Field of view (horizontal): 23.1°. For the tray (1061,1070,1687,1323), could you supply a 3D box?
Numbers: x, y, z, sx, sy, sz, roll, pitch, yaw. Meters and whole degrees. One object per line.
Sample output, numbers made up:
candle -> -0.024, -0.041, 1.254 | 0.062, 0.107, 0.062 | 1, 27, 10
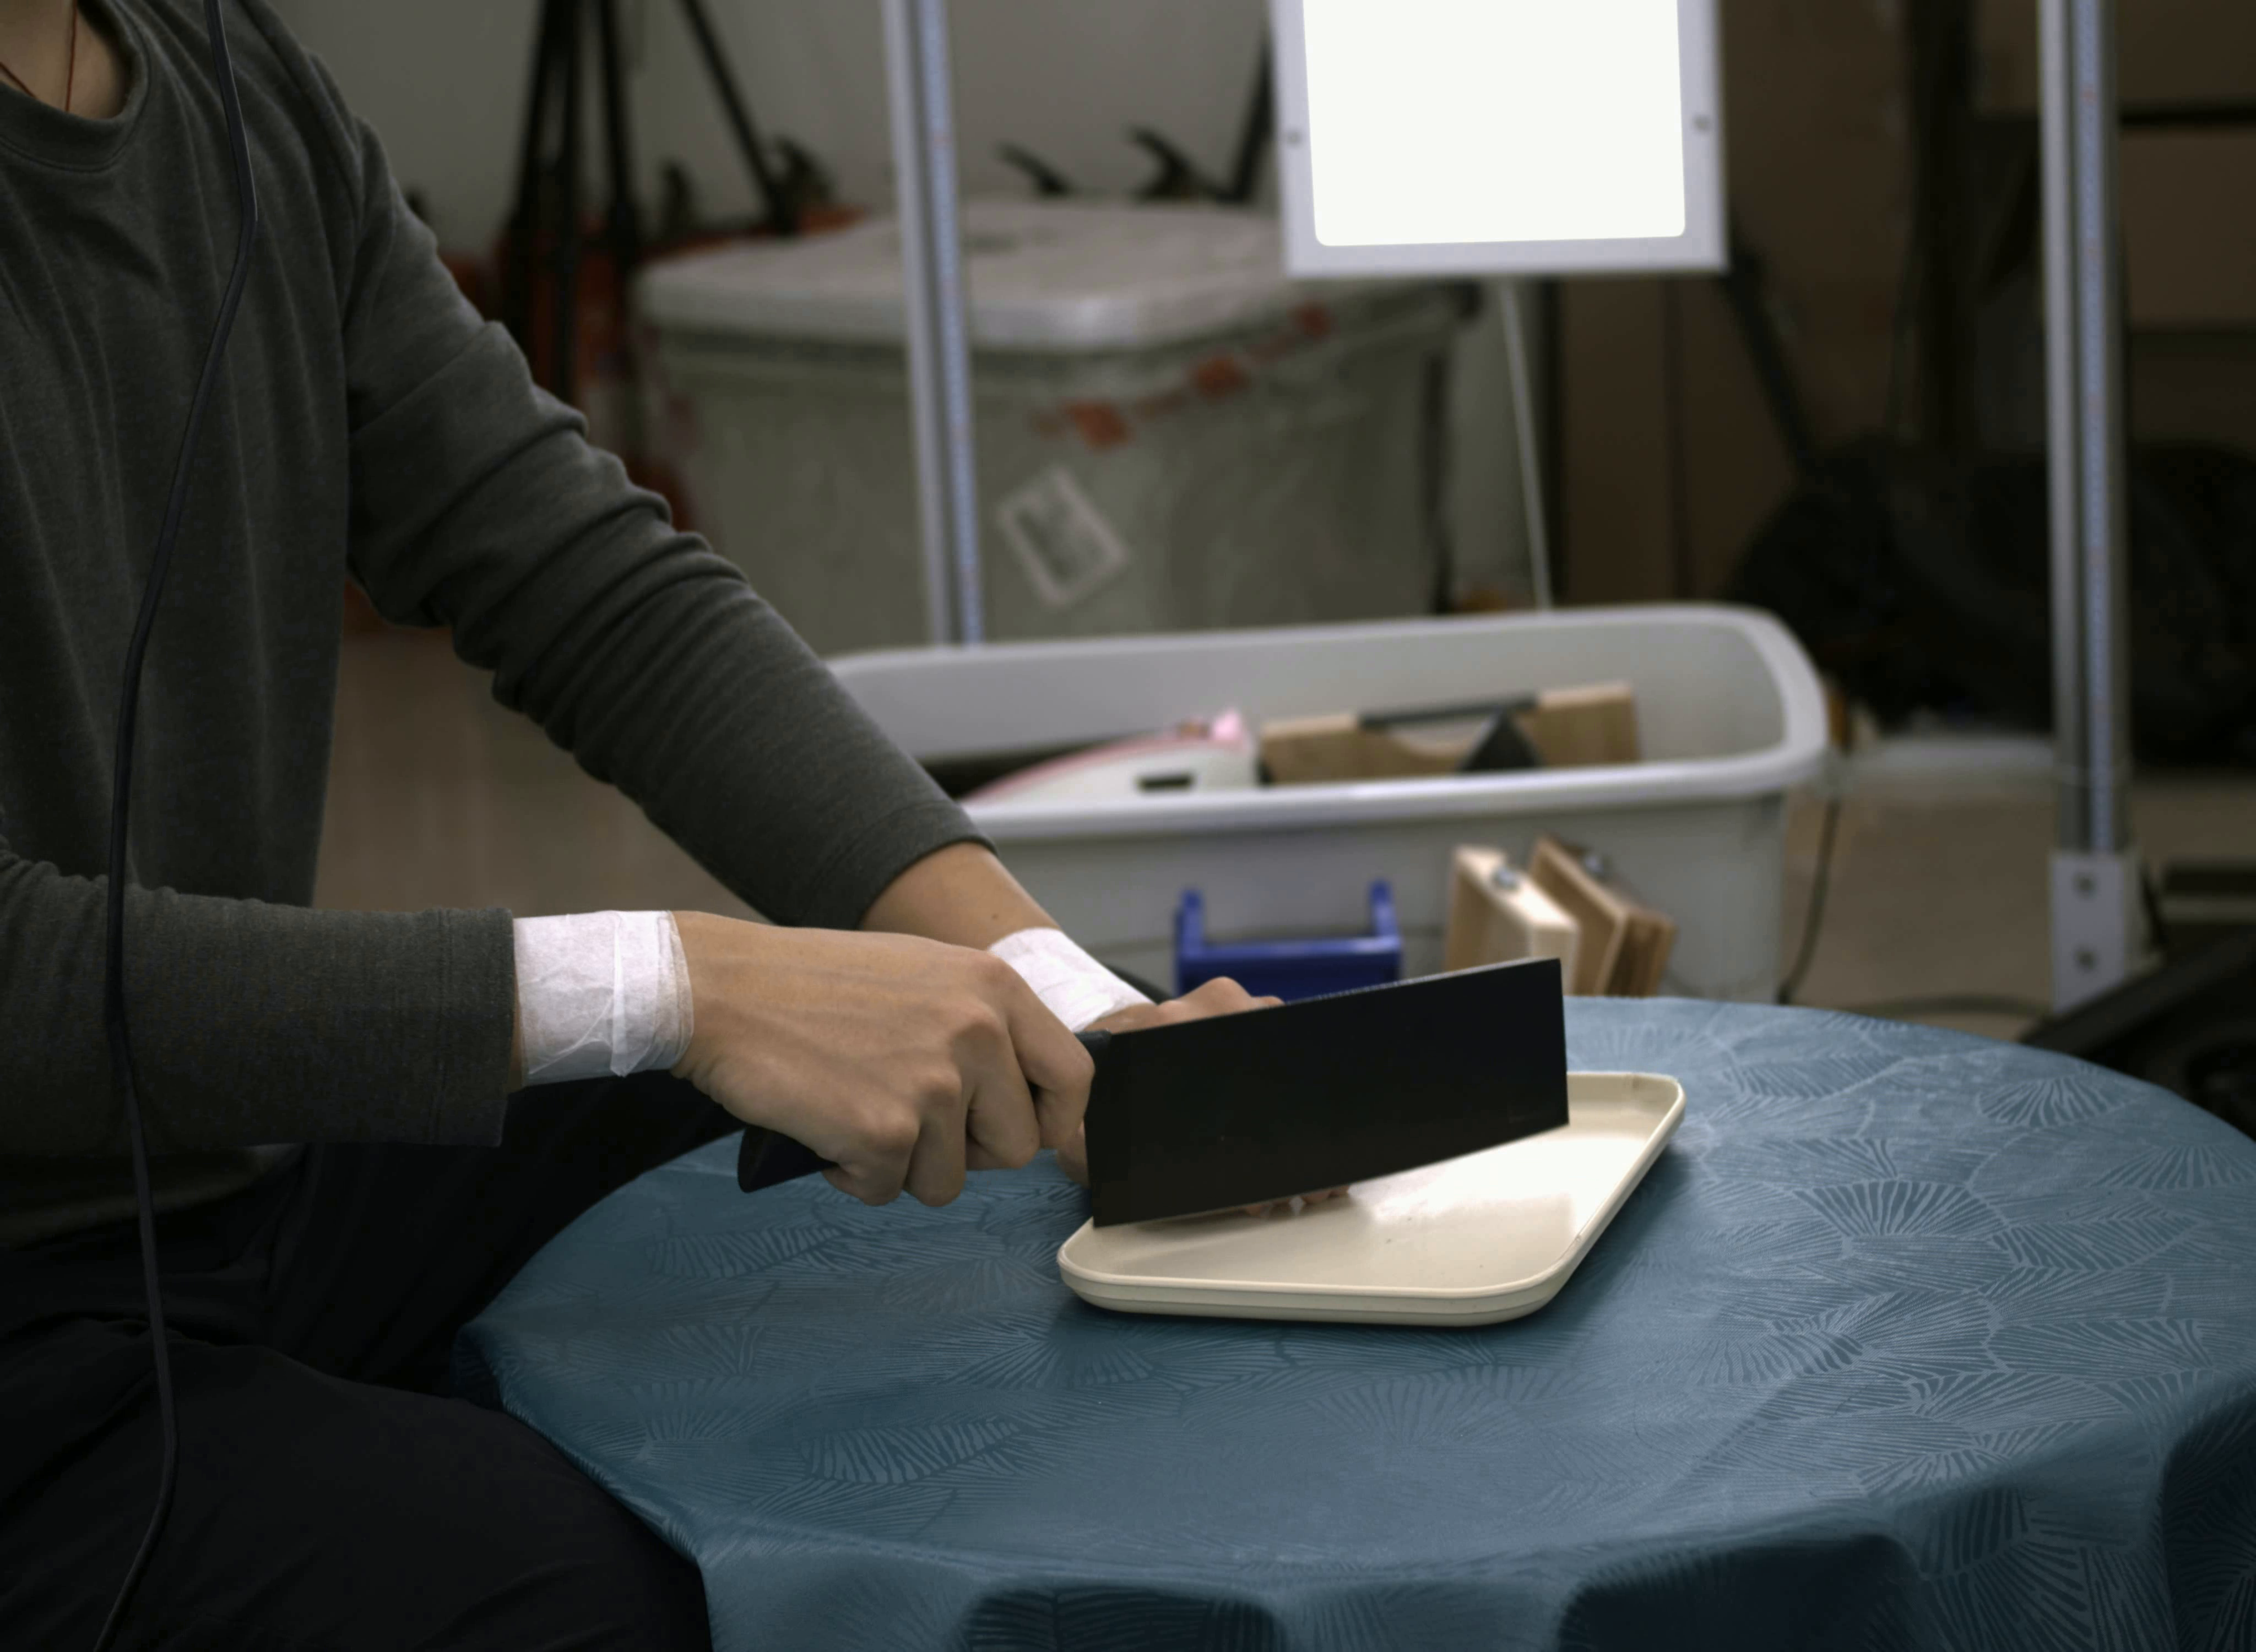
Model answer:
tray -> 0.087, 0.123, 1.848 | 0.173, 0.017, 0.235 | -1, 14, 20

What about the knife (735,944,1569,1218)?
knife -> 0.013, 0.090, 1.820 | 0.296, 0.081, 0.021 | -5, 10, -21
